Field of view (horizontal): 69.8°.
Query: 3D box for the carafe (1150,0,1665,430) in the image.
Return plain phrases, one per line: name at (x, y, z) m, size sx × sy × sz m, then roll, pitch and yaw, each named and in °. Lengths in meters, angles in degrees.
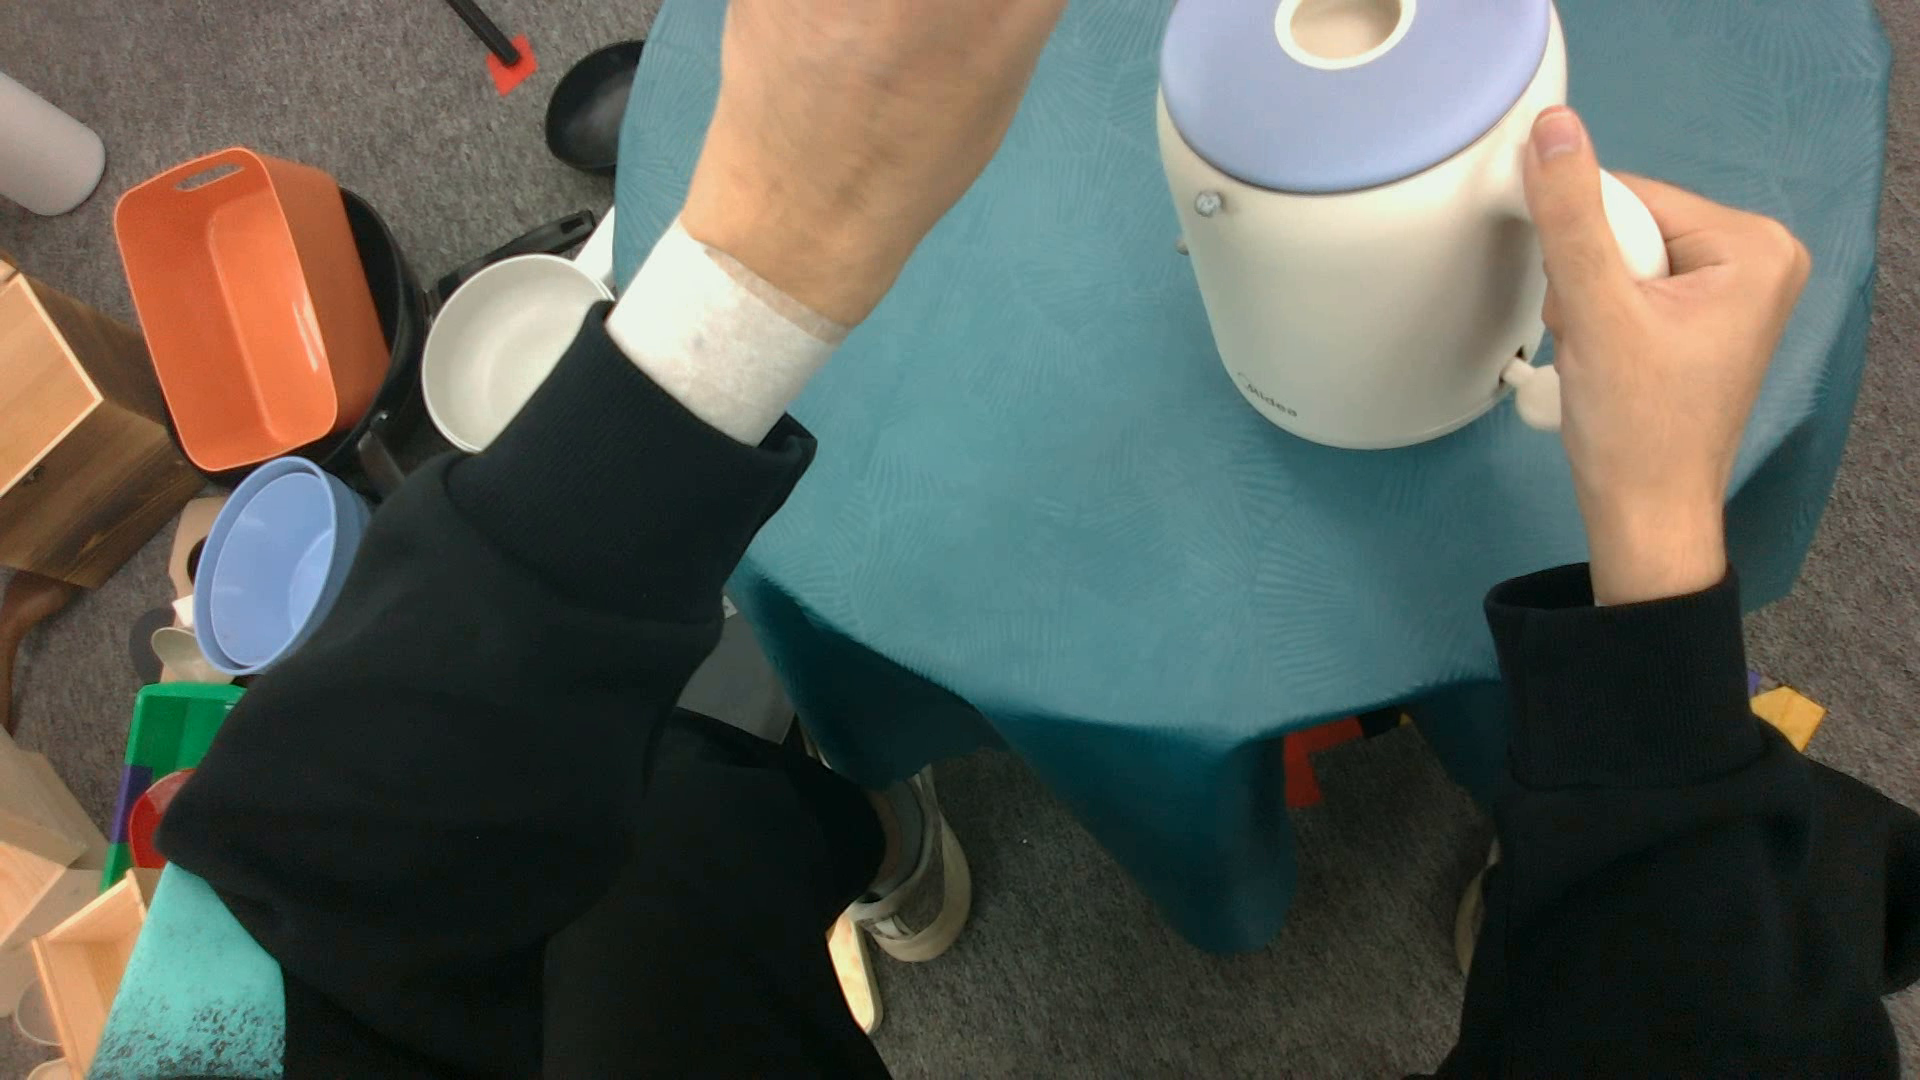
carafe at (0.162, -0.119, 0.498) m, size 0.191 × 0.182 × 0.132 m, roll 39°, pitch 84°, yaw 27°
